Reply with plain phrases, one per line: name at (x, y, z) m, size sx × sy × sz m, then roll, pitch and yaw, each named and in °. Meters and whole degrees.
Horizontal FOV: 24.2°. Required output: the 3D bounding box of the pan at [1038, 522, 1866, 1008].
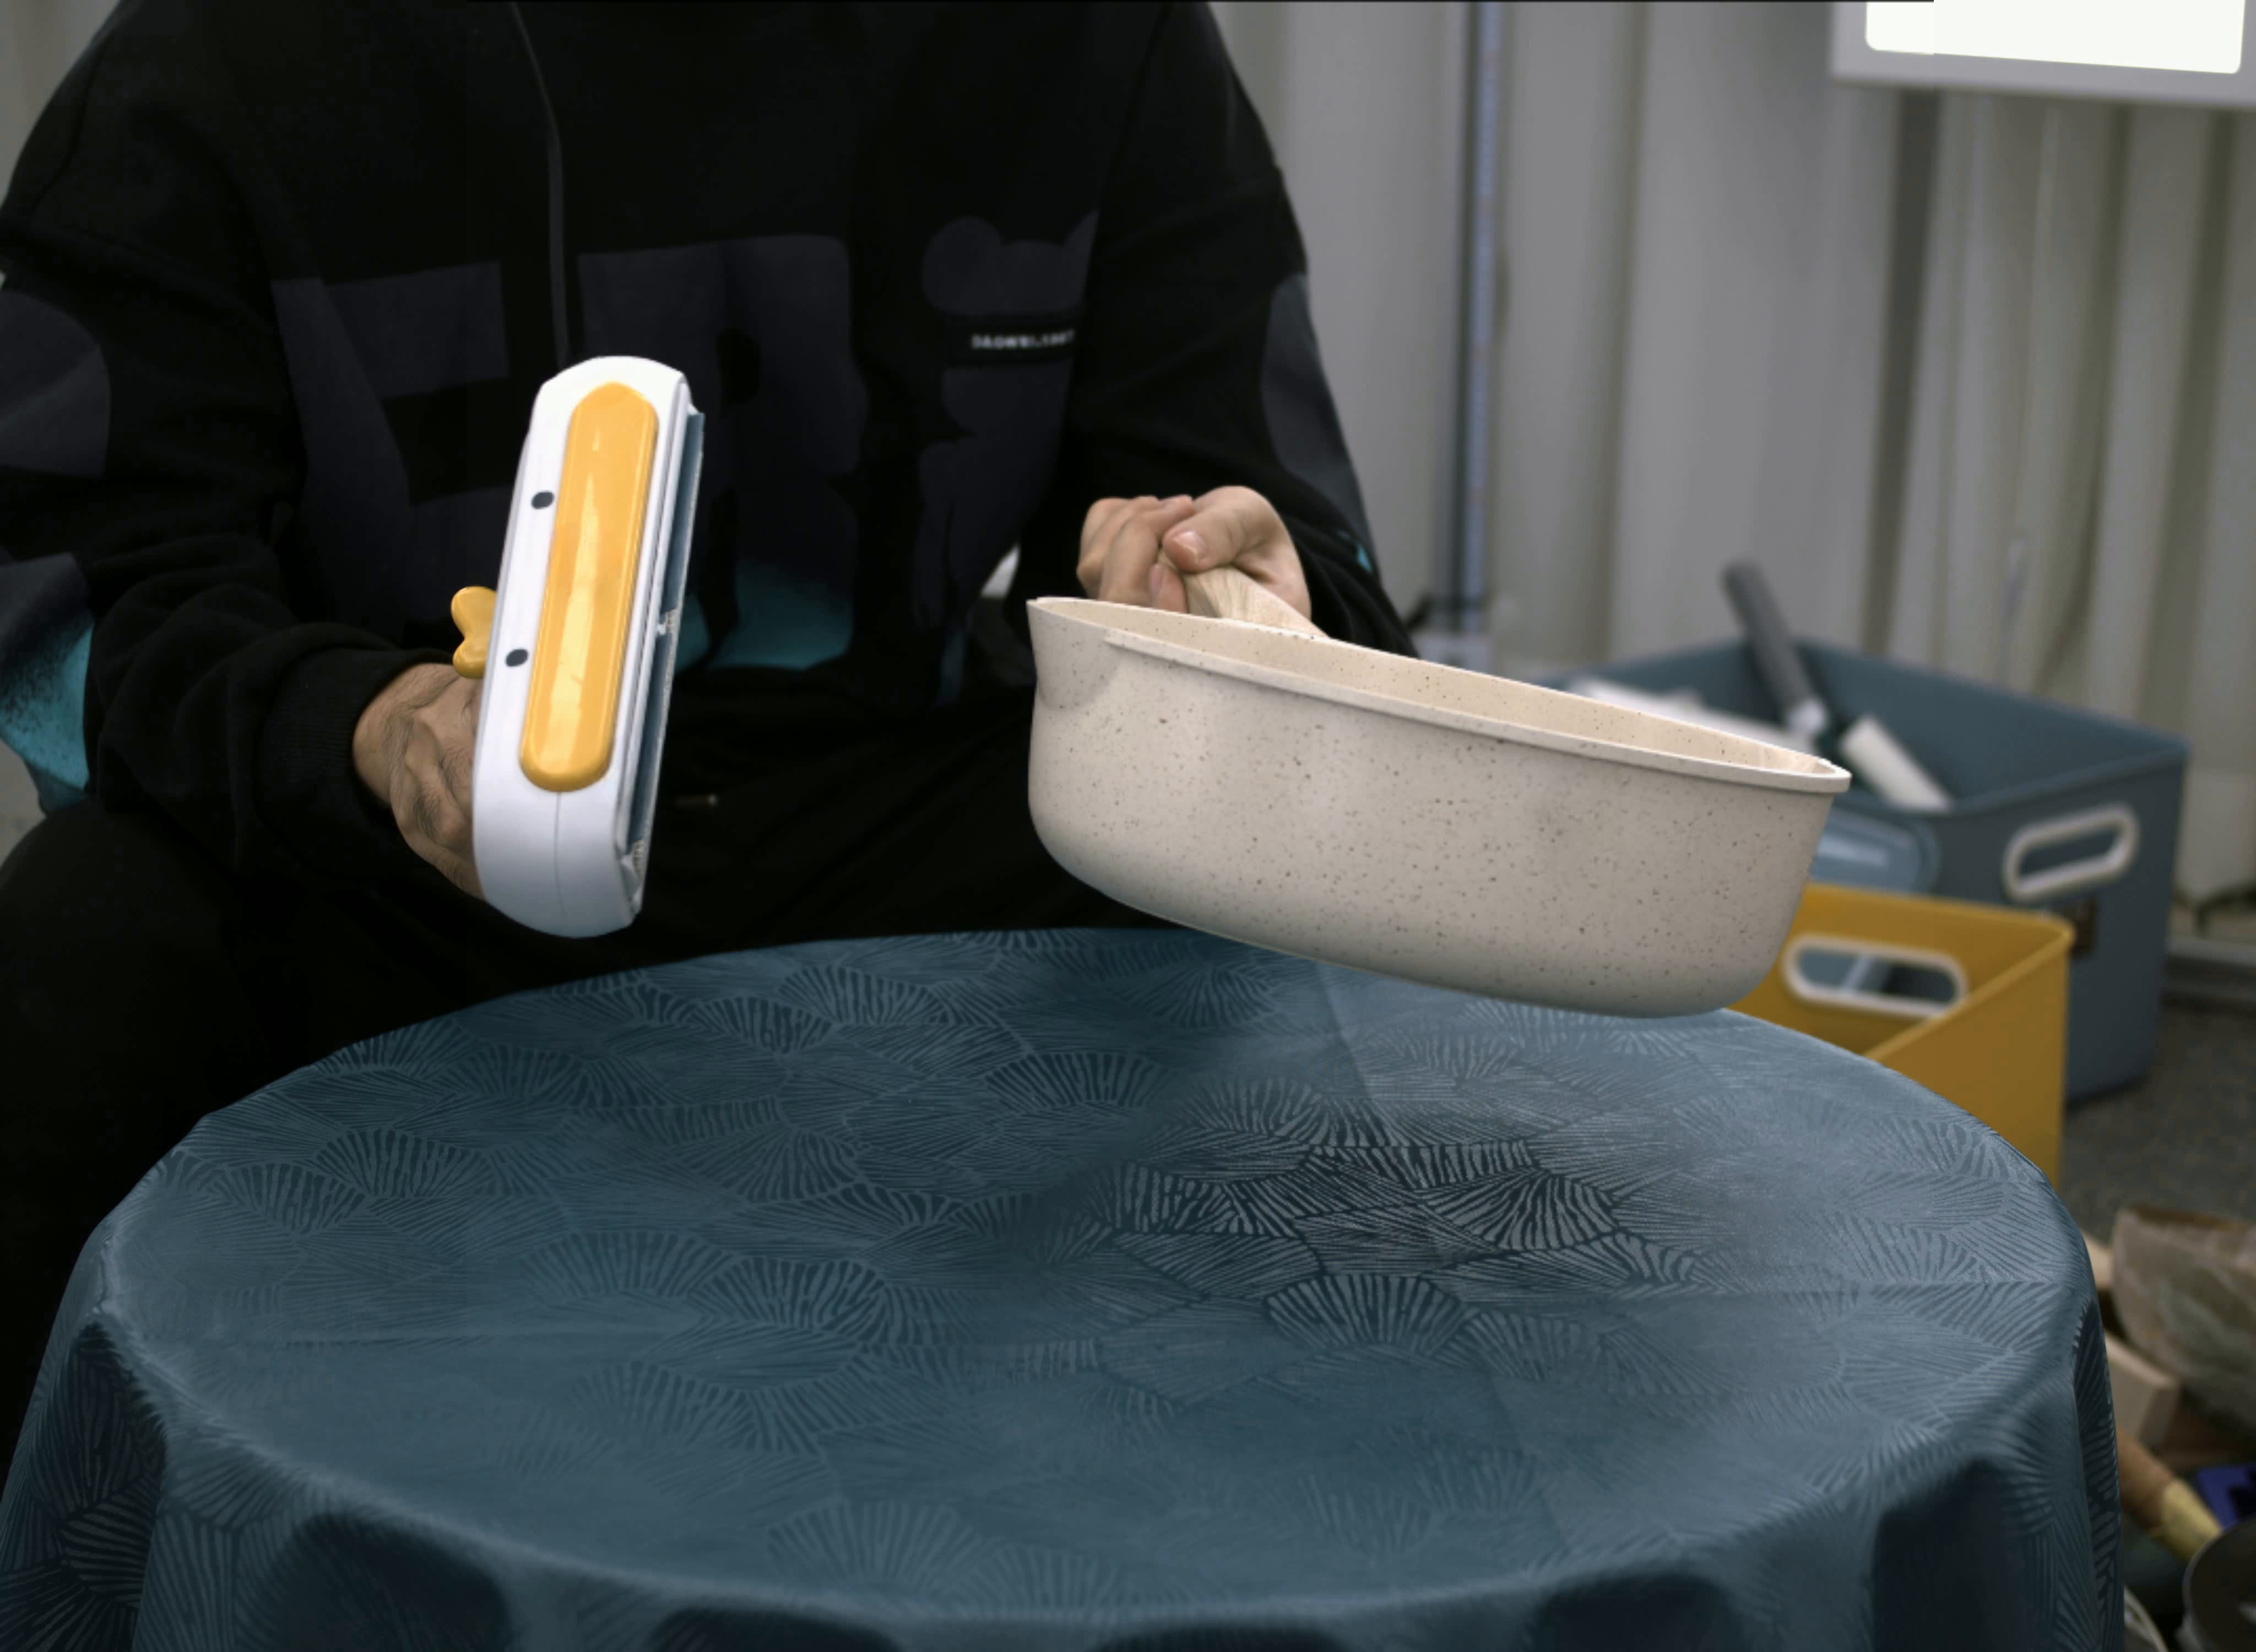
pan at (0.062, -0.025, 1.669) m, size 0.264 × 0.102 × 0.431 m, roll 8°, pitch 6°, yaw -21°

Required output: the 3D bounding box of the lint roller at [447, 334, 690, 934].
lint roller at (-0.178, -0.031, 1.659) m, size 0.074 × 0.194 × 0.191 m, roll 2°, pitch 56°, yaw -6°
